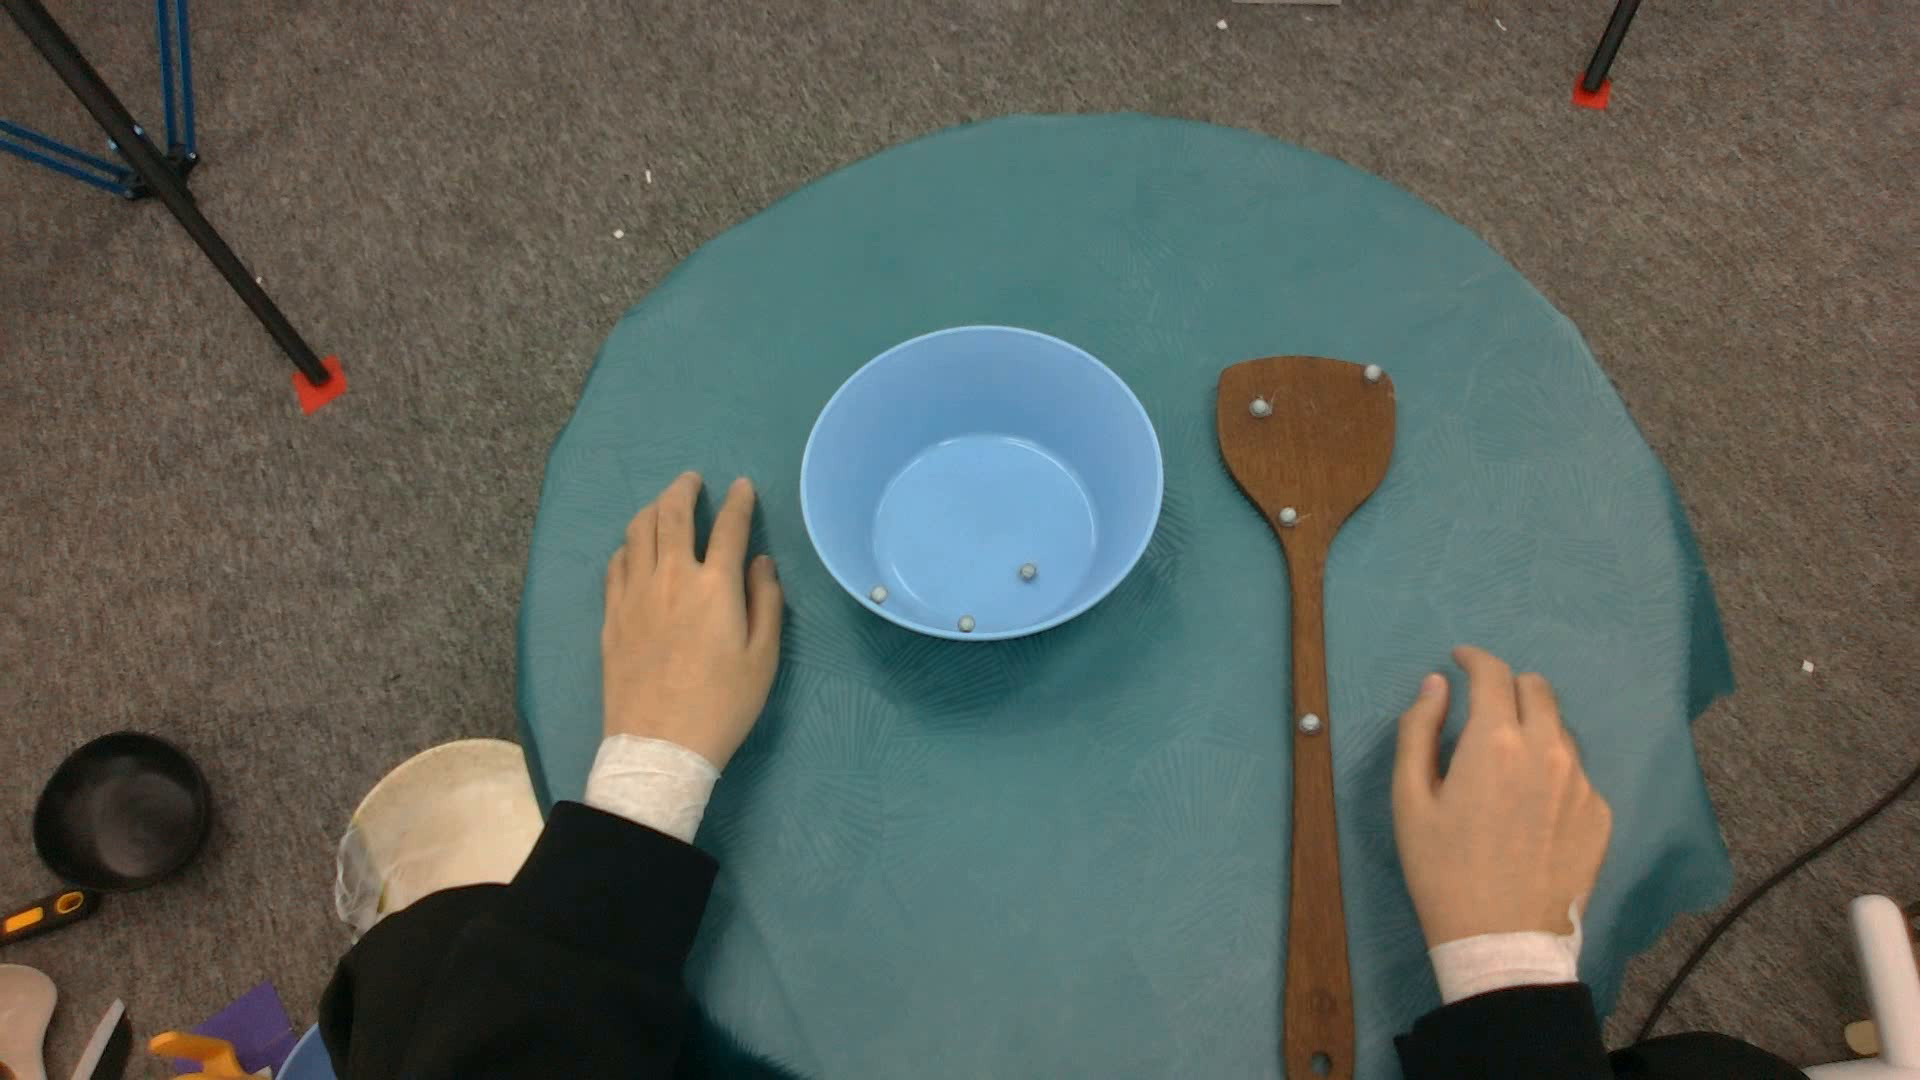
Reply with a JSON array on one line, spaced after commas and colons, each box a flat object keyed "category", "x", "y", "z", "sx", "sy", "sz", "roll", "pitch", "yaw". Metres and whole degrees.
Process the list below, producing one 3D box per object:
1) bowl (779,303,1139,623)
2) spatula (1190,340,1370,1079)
[{"category": "bowl", "x": 0.001, "y": -0.029, "z": 0.695, "sx": 0.176, "sy": 0.070, "sz": 0.176, "roll": -1, "pitch": 64, "yaw": 2}, {"category": "spatula", "x": 0.160, "y": 0.063, "z": 0.674, "sx": 0.096, "sy": 0.016, "sz": 0.387, "roll": 3, "pitch": 63, "yaw": 4}]
